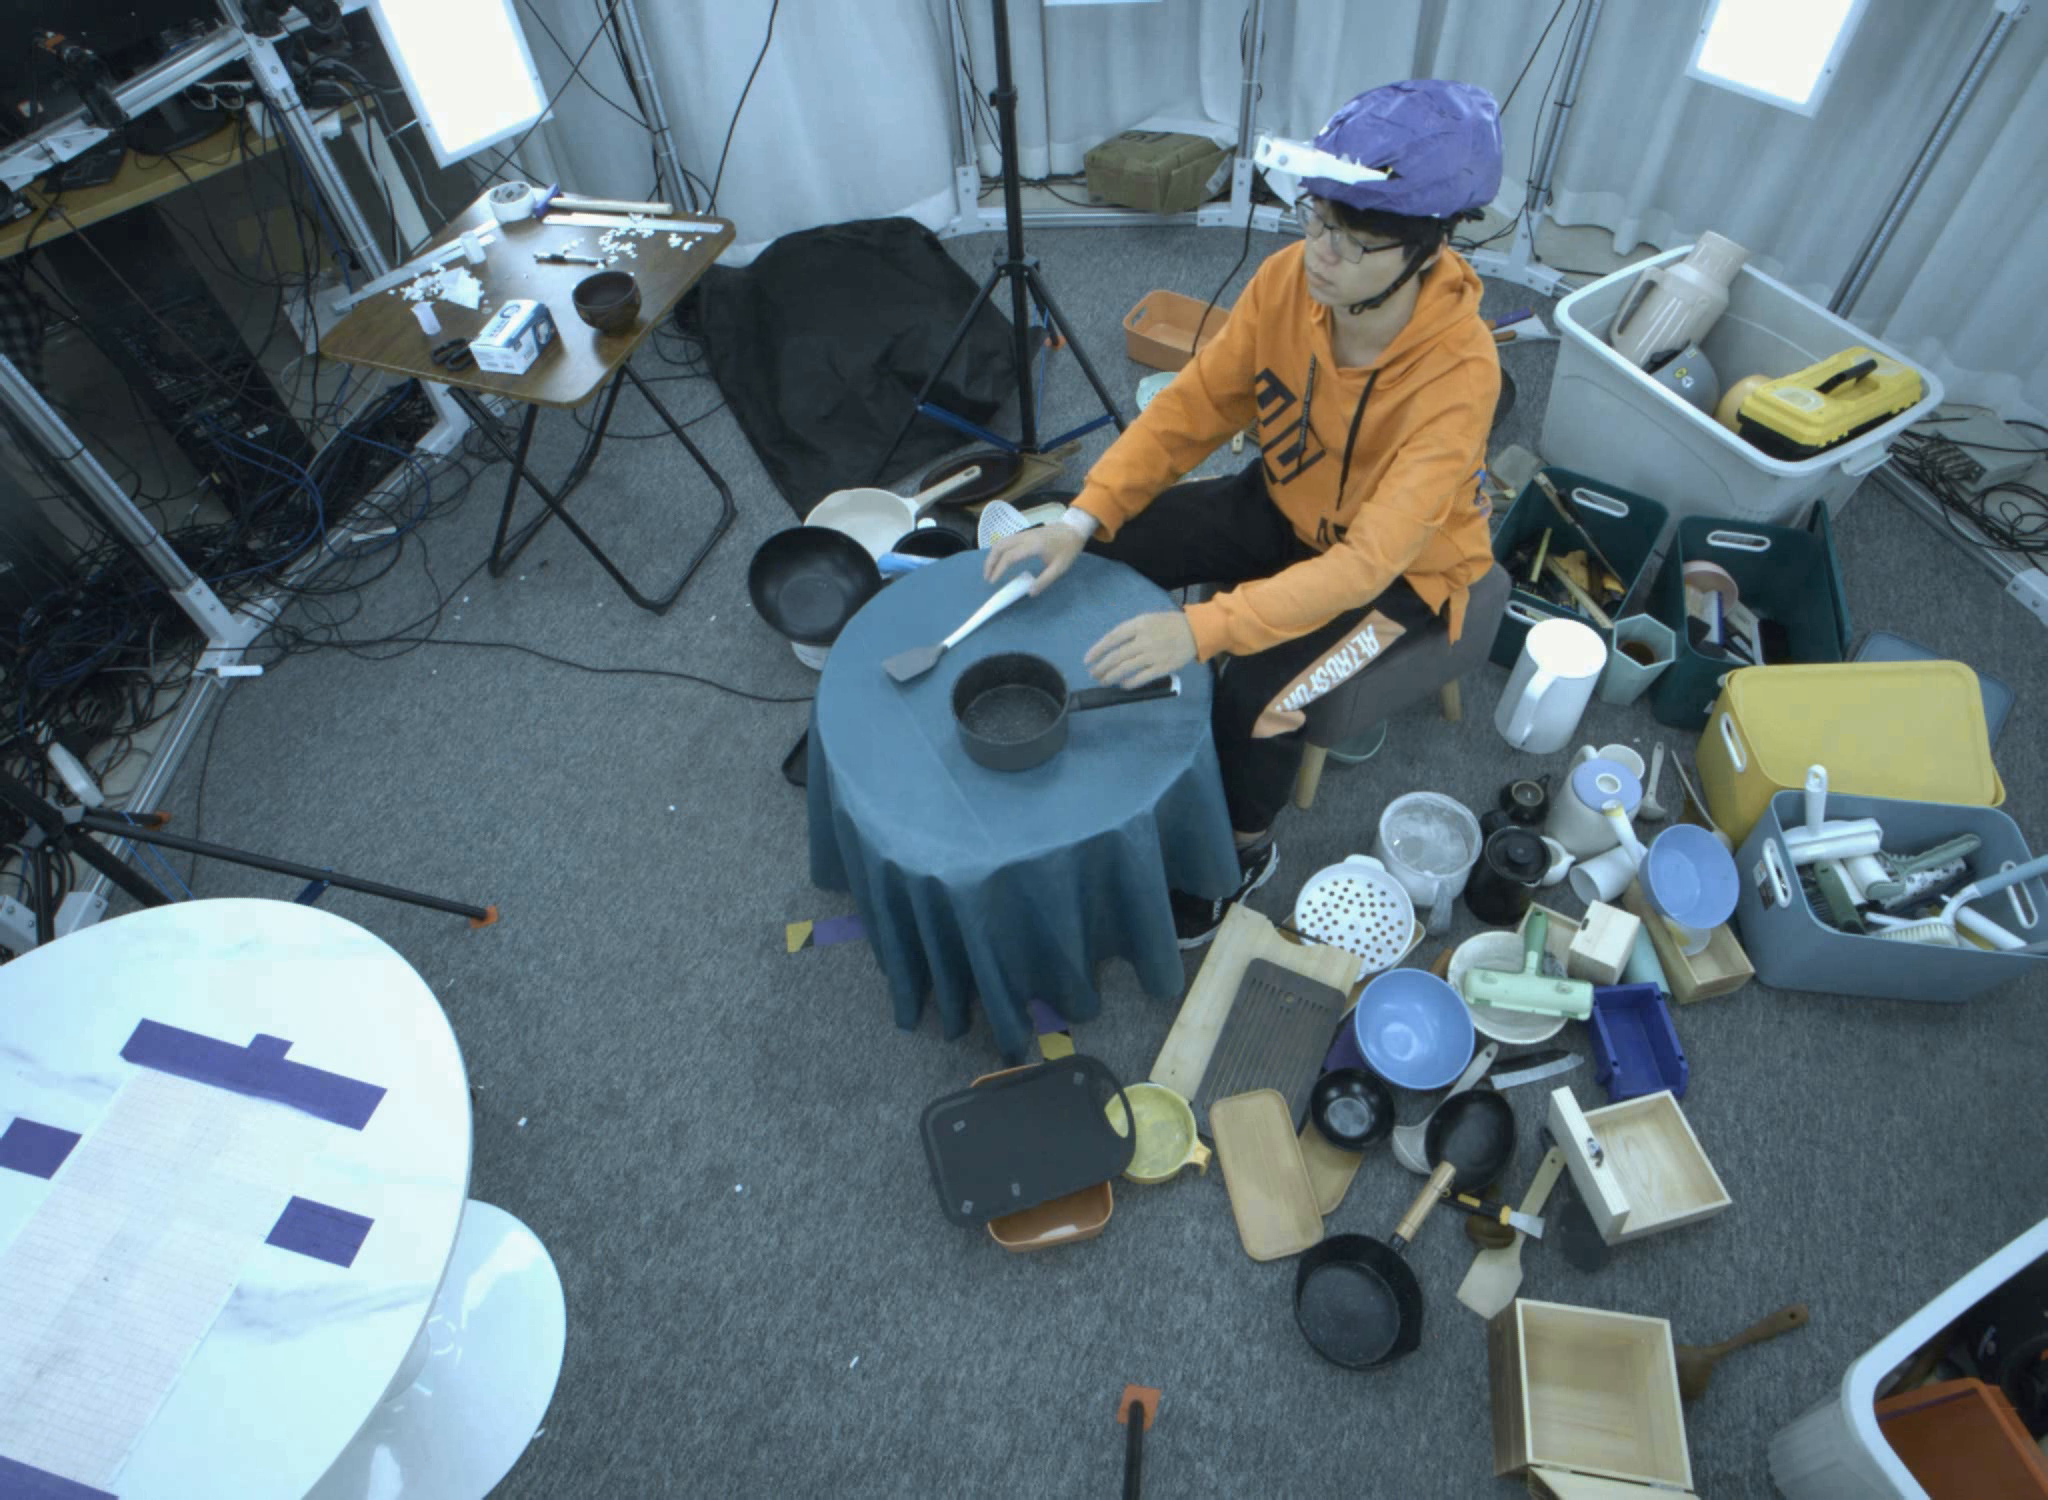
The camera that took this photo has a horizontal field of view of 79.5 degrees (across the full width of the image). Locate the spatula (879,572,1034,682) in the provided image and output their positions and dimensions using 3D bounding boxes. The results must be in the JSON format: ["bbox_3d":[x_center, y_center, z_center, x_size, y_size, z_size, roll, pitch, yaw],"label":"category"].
[{"bbox_3d":[-0.100,-0.190,1.906,0.290,0.032,0.058,-37,65,-22],"label":"spatula"}]

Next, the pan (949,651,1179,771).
[{"bbox_3d":[0.060,-0.060,1.775,0.328,0.087,0.170,-2,55,3],"label":"pan"}]
